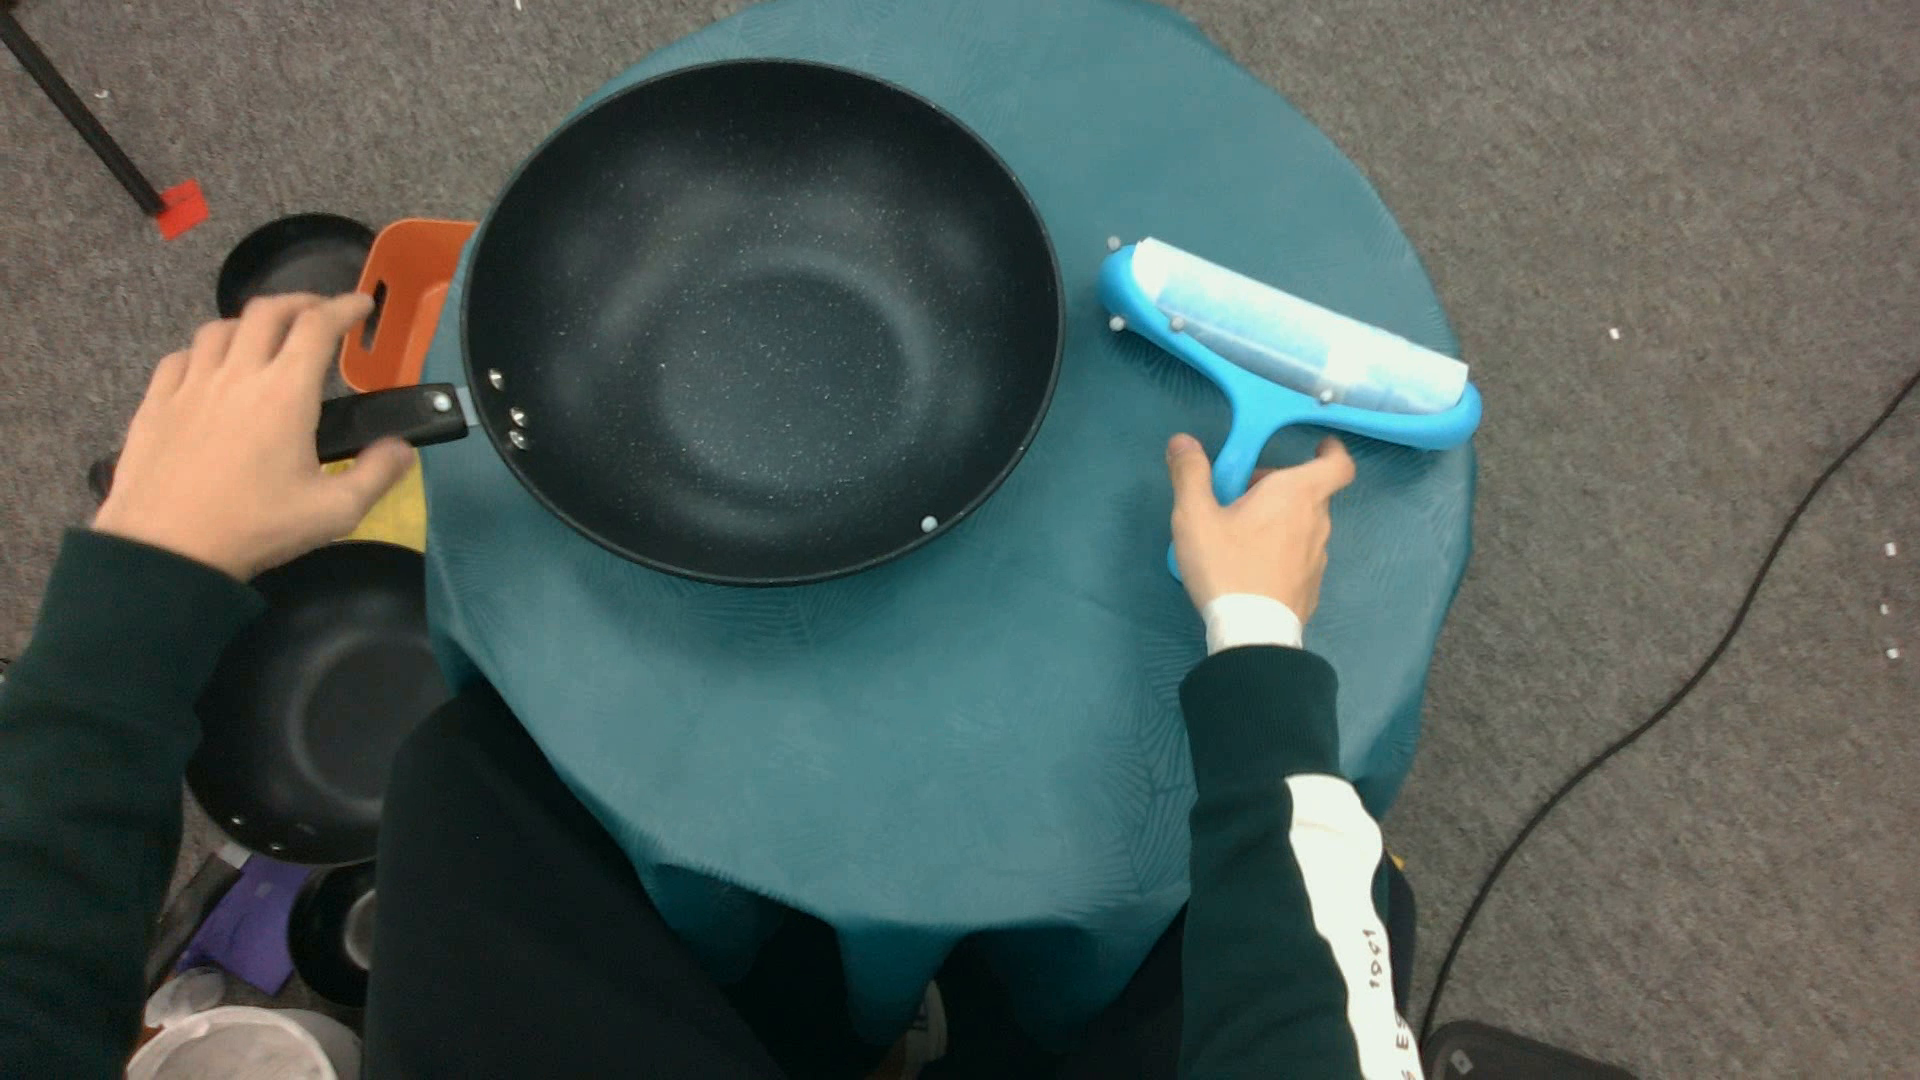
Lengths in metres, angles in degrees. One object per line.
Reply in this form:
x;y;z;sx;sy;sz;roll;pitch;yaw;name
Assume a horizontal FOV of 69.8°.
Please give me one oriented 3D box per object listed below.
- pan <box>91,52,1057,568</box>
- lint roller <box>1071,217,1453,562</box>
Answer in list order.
-0.181;-0.089;0.722;0.478;0.111;0.311;-22;70;-12;pan
0.152;-0.075;0.764;0.229;0.067;0.181;21;67;1;lint roller
